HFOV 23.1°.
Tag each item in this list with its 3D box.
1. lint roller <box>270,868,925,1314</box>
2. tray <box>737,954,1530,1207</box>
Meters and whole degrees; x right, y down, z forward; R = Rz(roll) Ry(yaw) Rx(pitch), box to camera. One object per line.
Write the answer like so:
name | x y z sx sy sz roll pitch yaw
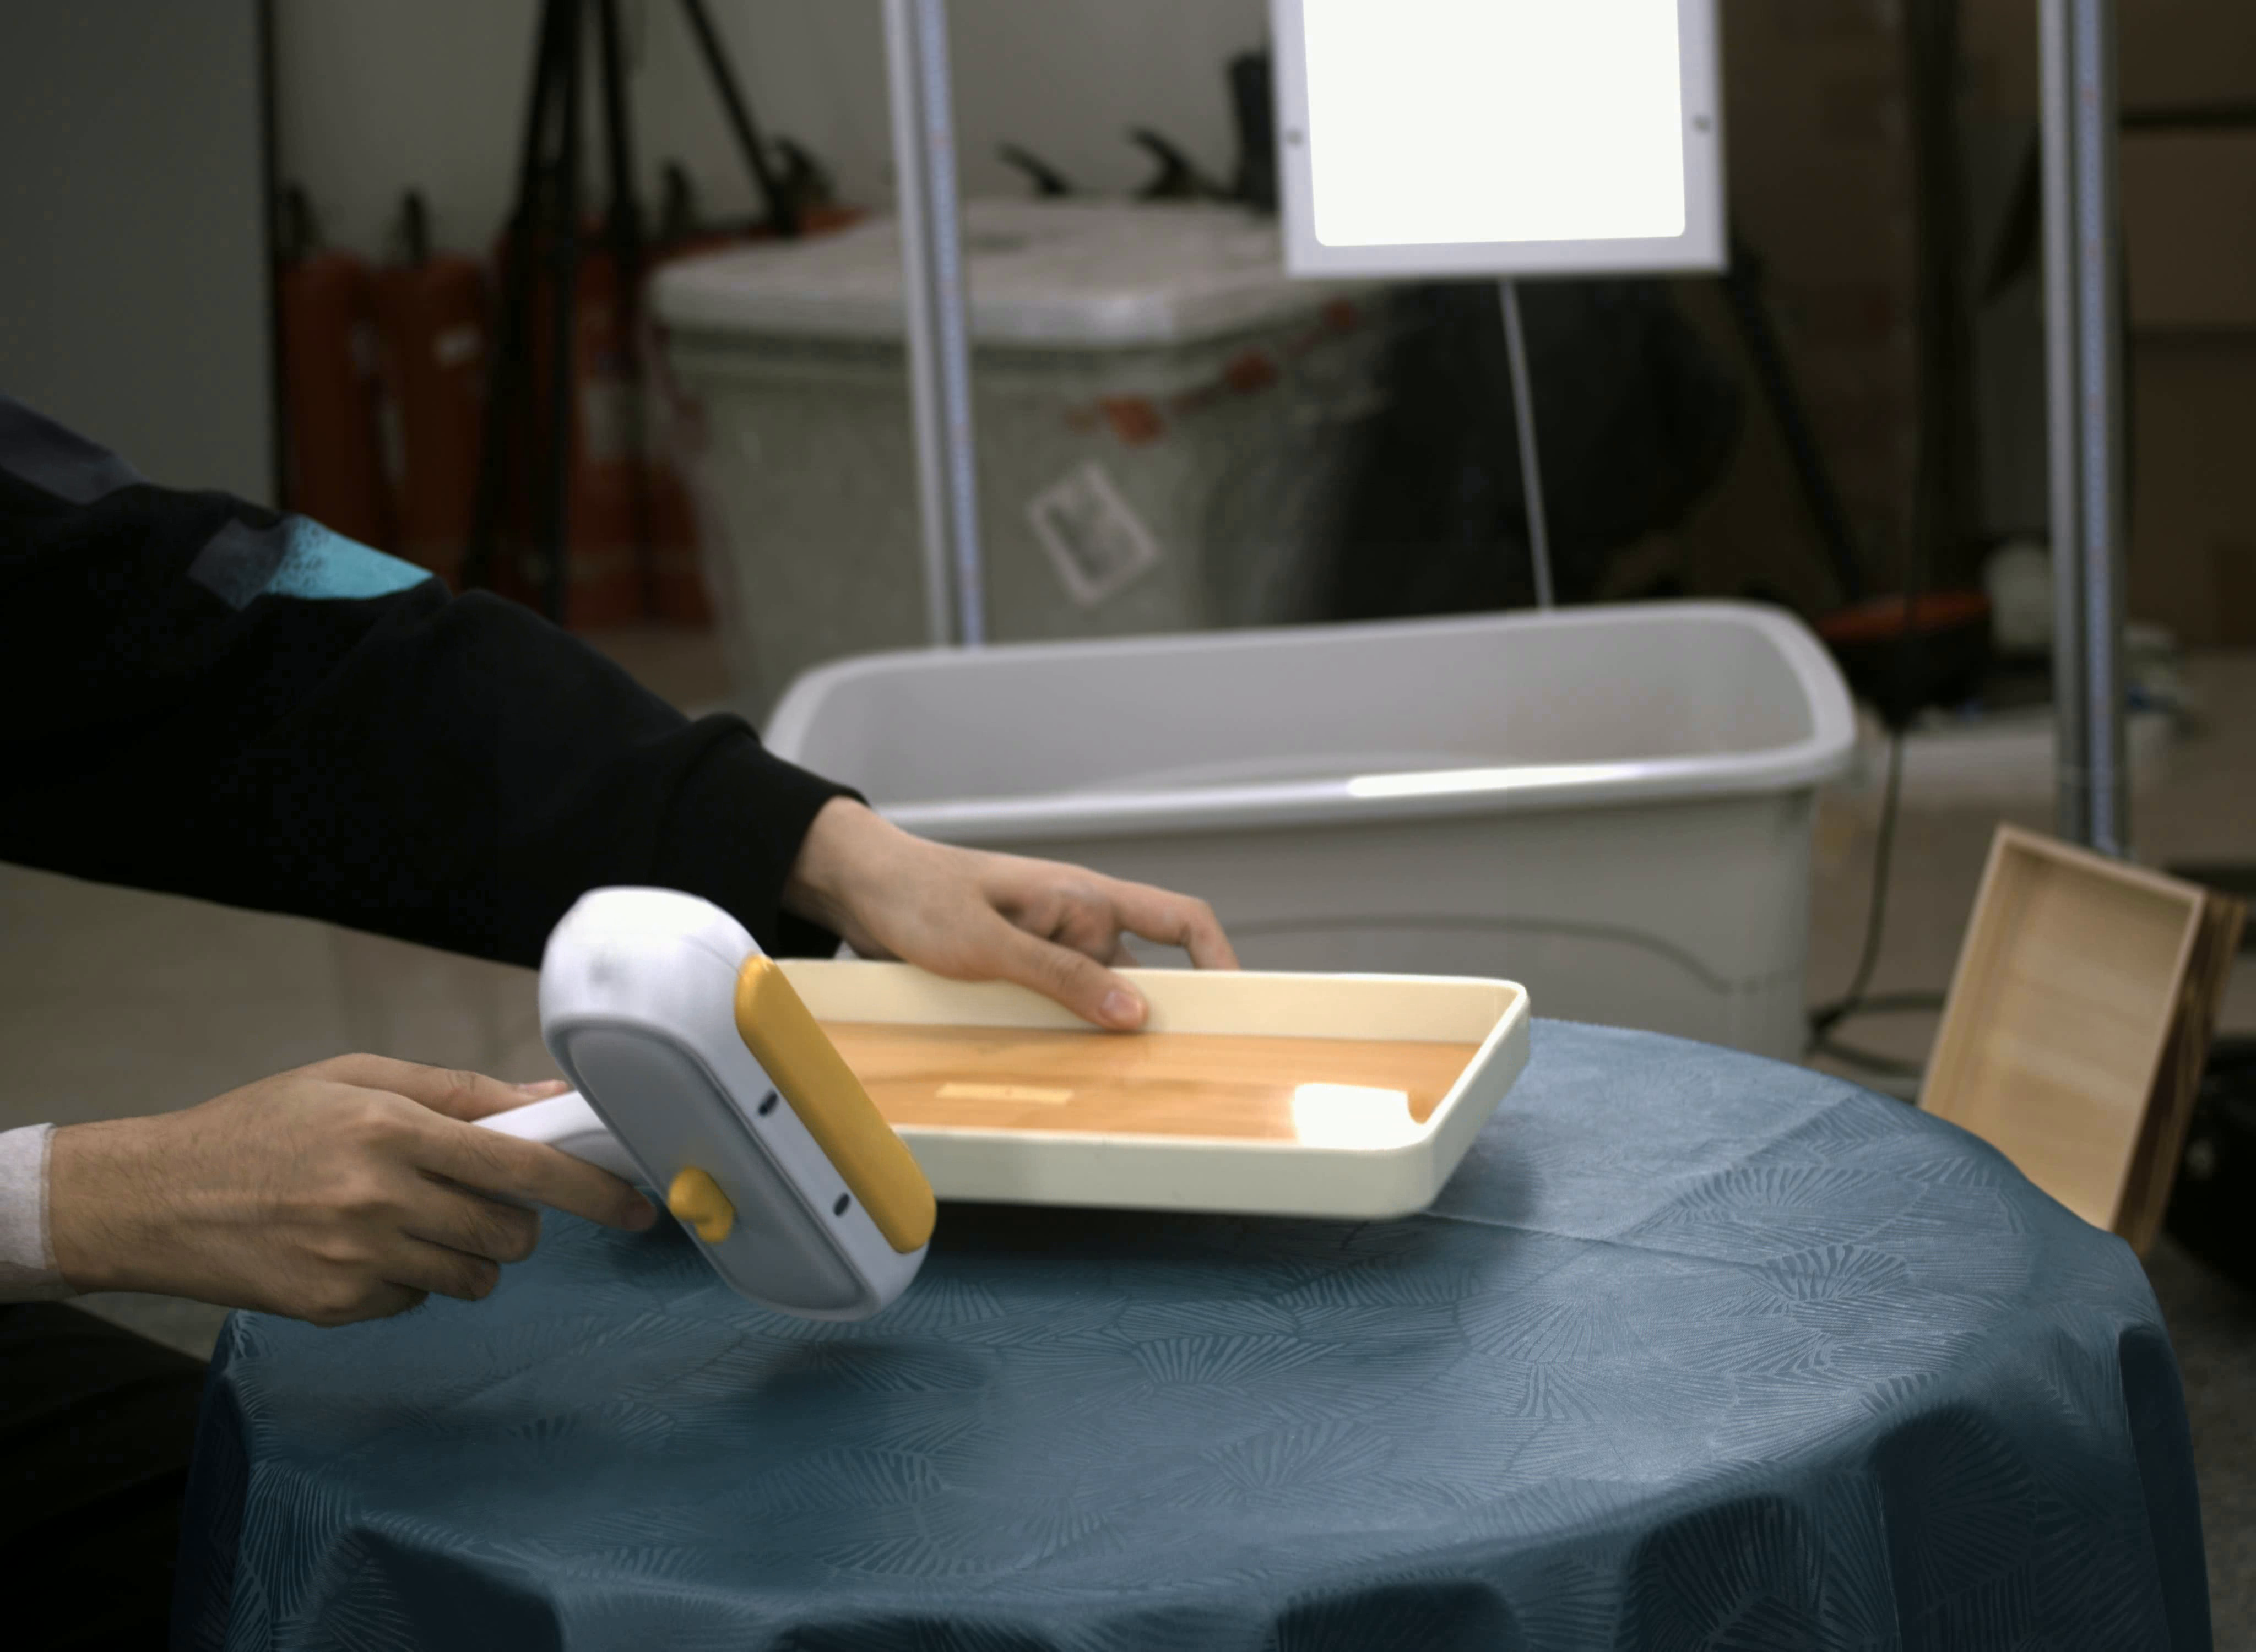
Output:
lint roller | -0.178 0.098 1.717 0.196 0.190 0.074 -10 52 25
tray | -0.023 0.086 1.903 0.304 0.027 0.188 1 15 19
